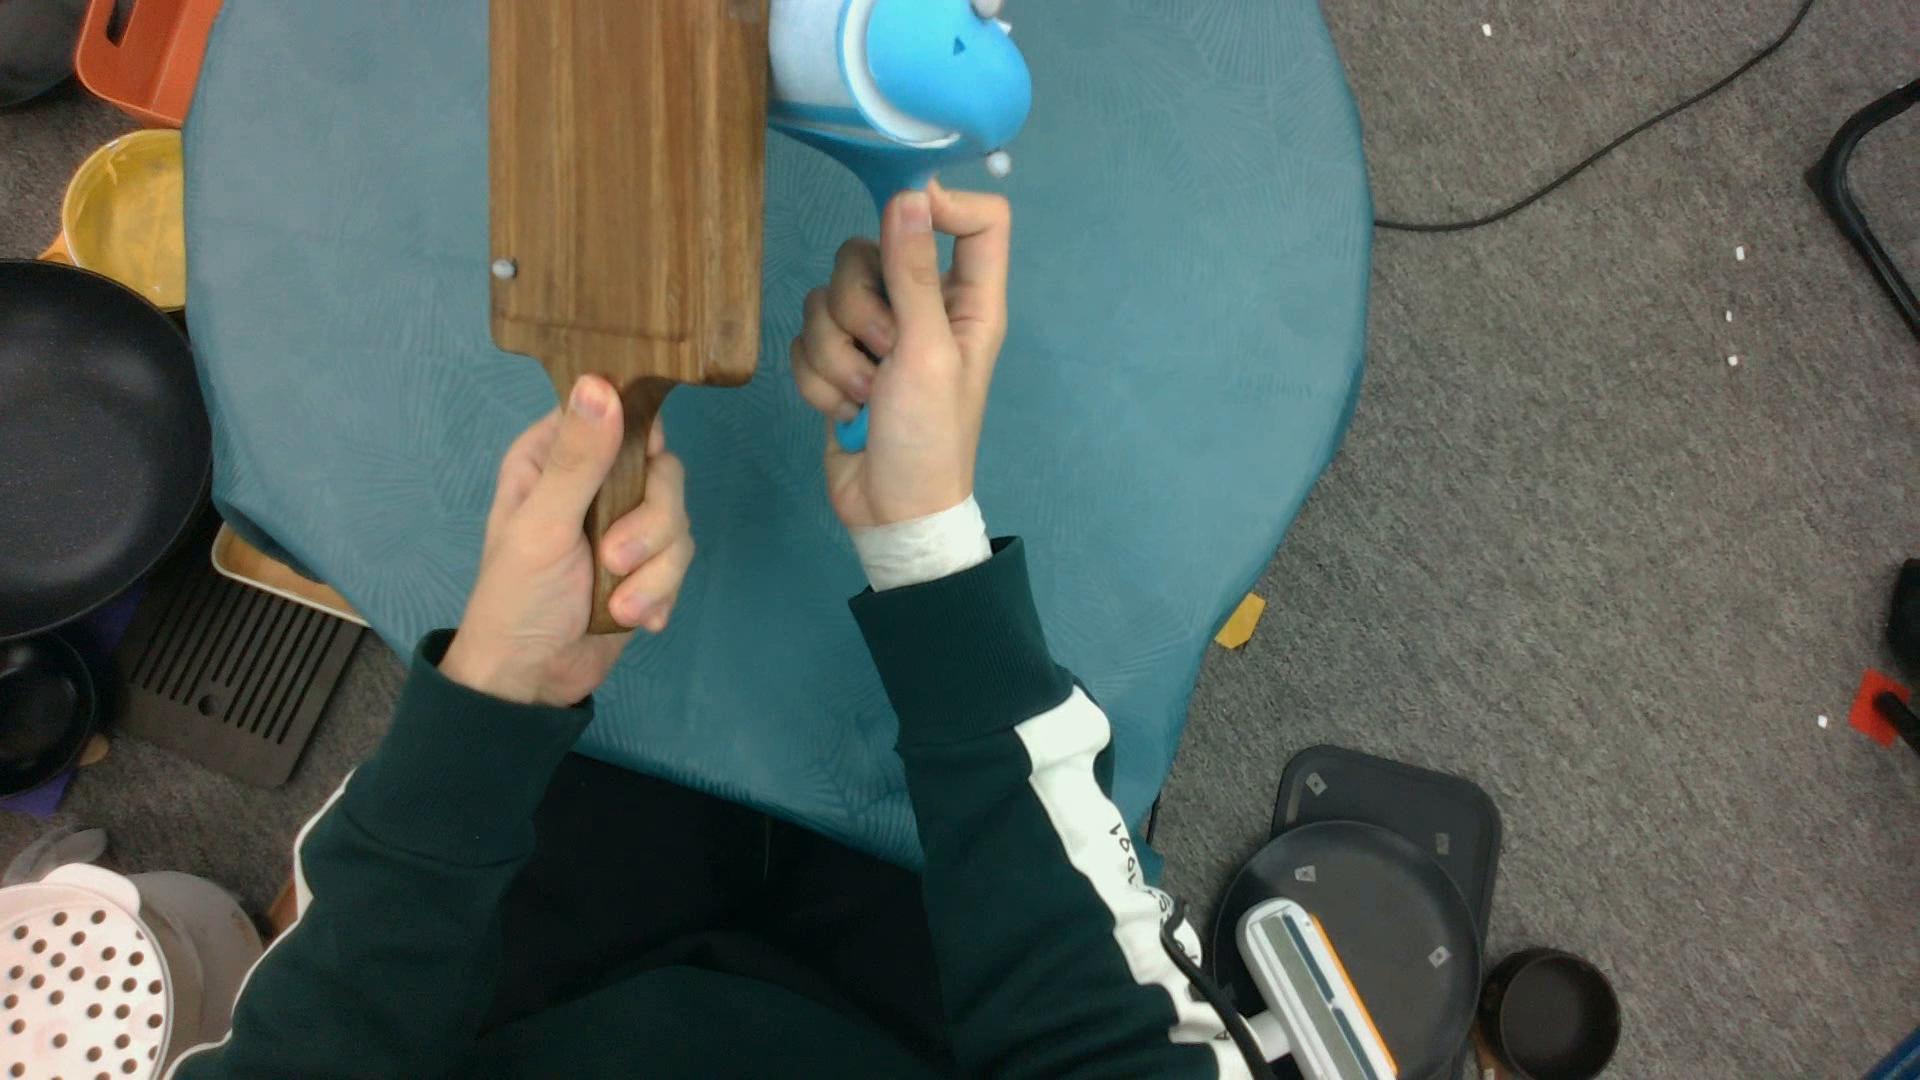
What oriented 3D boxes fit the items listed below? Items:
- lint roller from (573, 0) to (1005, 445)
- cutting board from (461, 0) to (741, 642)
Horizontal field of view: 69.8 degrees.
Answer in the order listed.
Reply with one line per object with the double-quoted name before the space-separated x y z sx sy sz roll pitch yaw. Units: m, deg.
"lint roller" -0.057 -0.126 0.504 0.068 0.229 0.179 -34 127 -23
"cutting board" -0.135 -0.137 0.493 0.023 0.201 0.351 -6 101 -38
